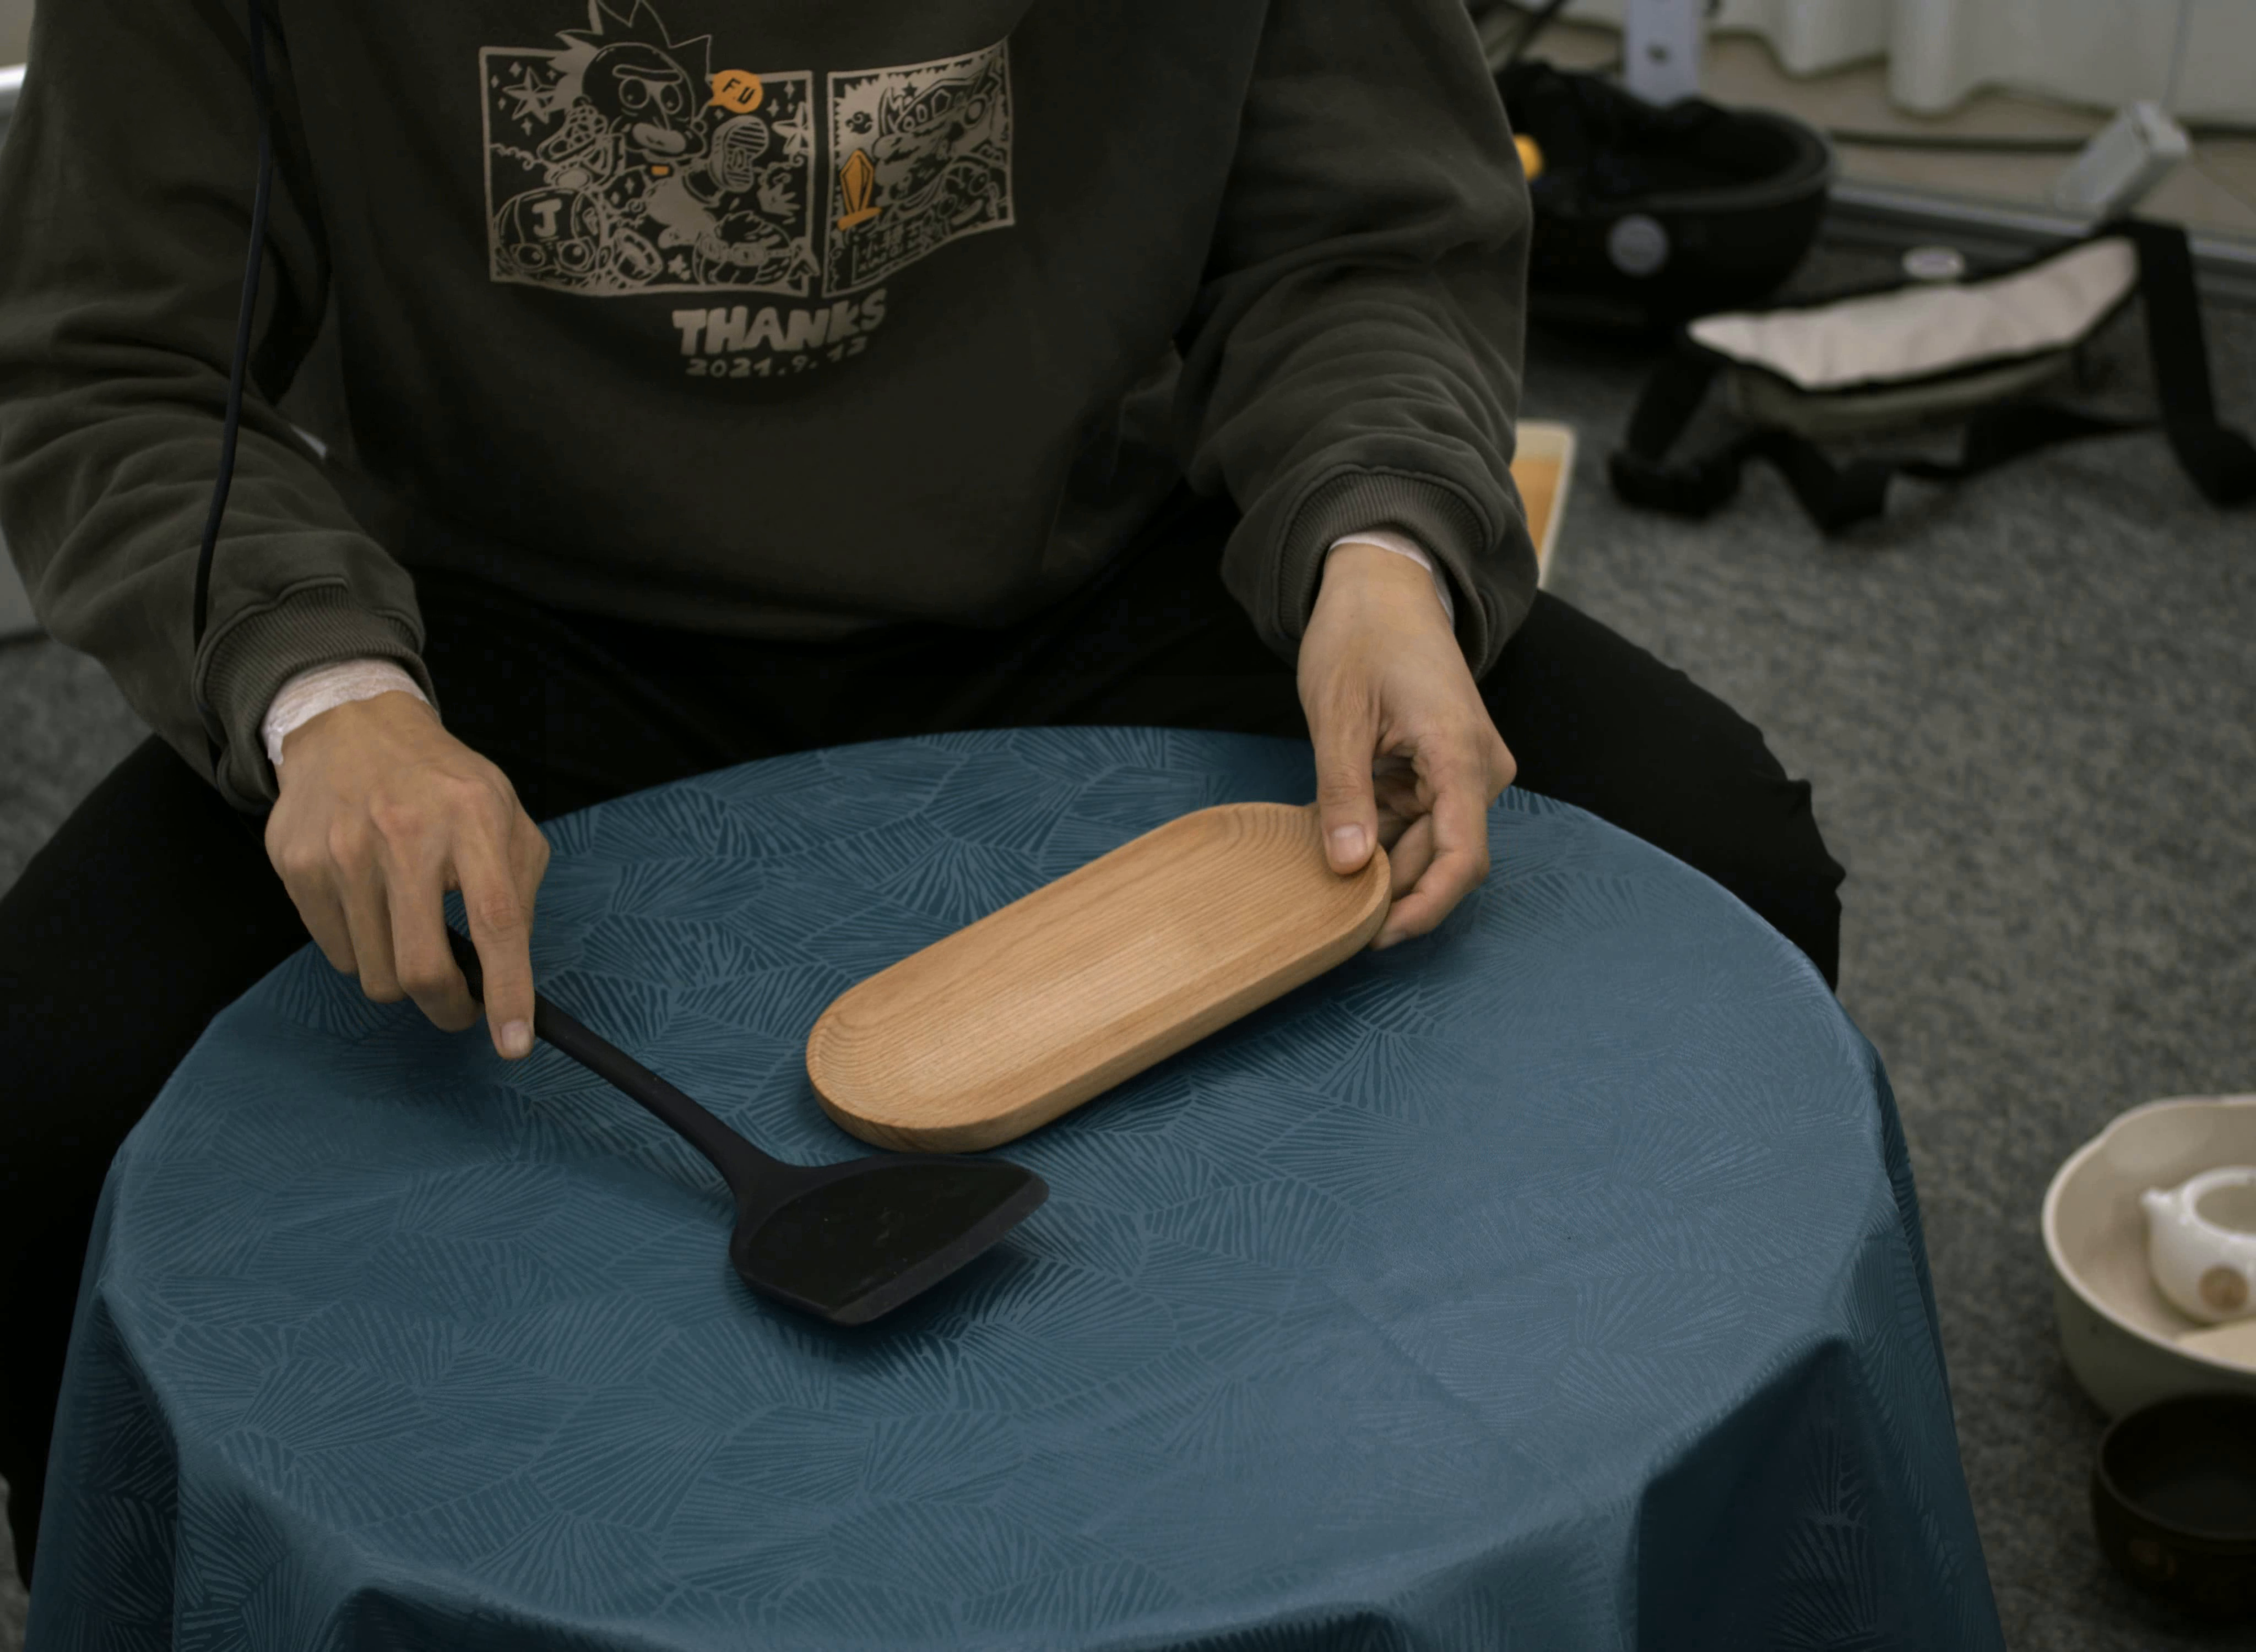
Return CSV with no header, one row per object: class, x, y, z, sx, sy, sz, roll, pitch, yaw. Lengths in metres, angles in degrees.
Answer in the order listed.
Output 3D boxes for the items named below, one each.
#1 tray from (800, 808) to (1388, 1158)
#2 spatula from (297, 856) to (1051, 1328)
tray,-0.010,0.054,1.952,0.233,0.020,0.102,-28,36,-28
spatula,-0.170,0.079,1.884,0.327,0.040,0.101,33,44,30
